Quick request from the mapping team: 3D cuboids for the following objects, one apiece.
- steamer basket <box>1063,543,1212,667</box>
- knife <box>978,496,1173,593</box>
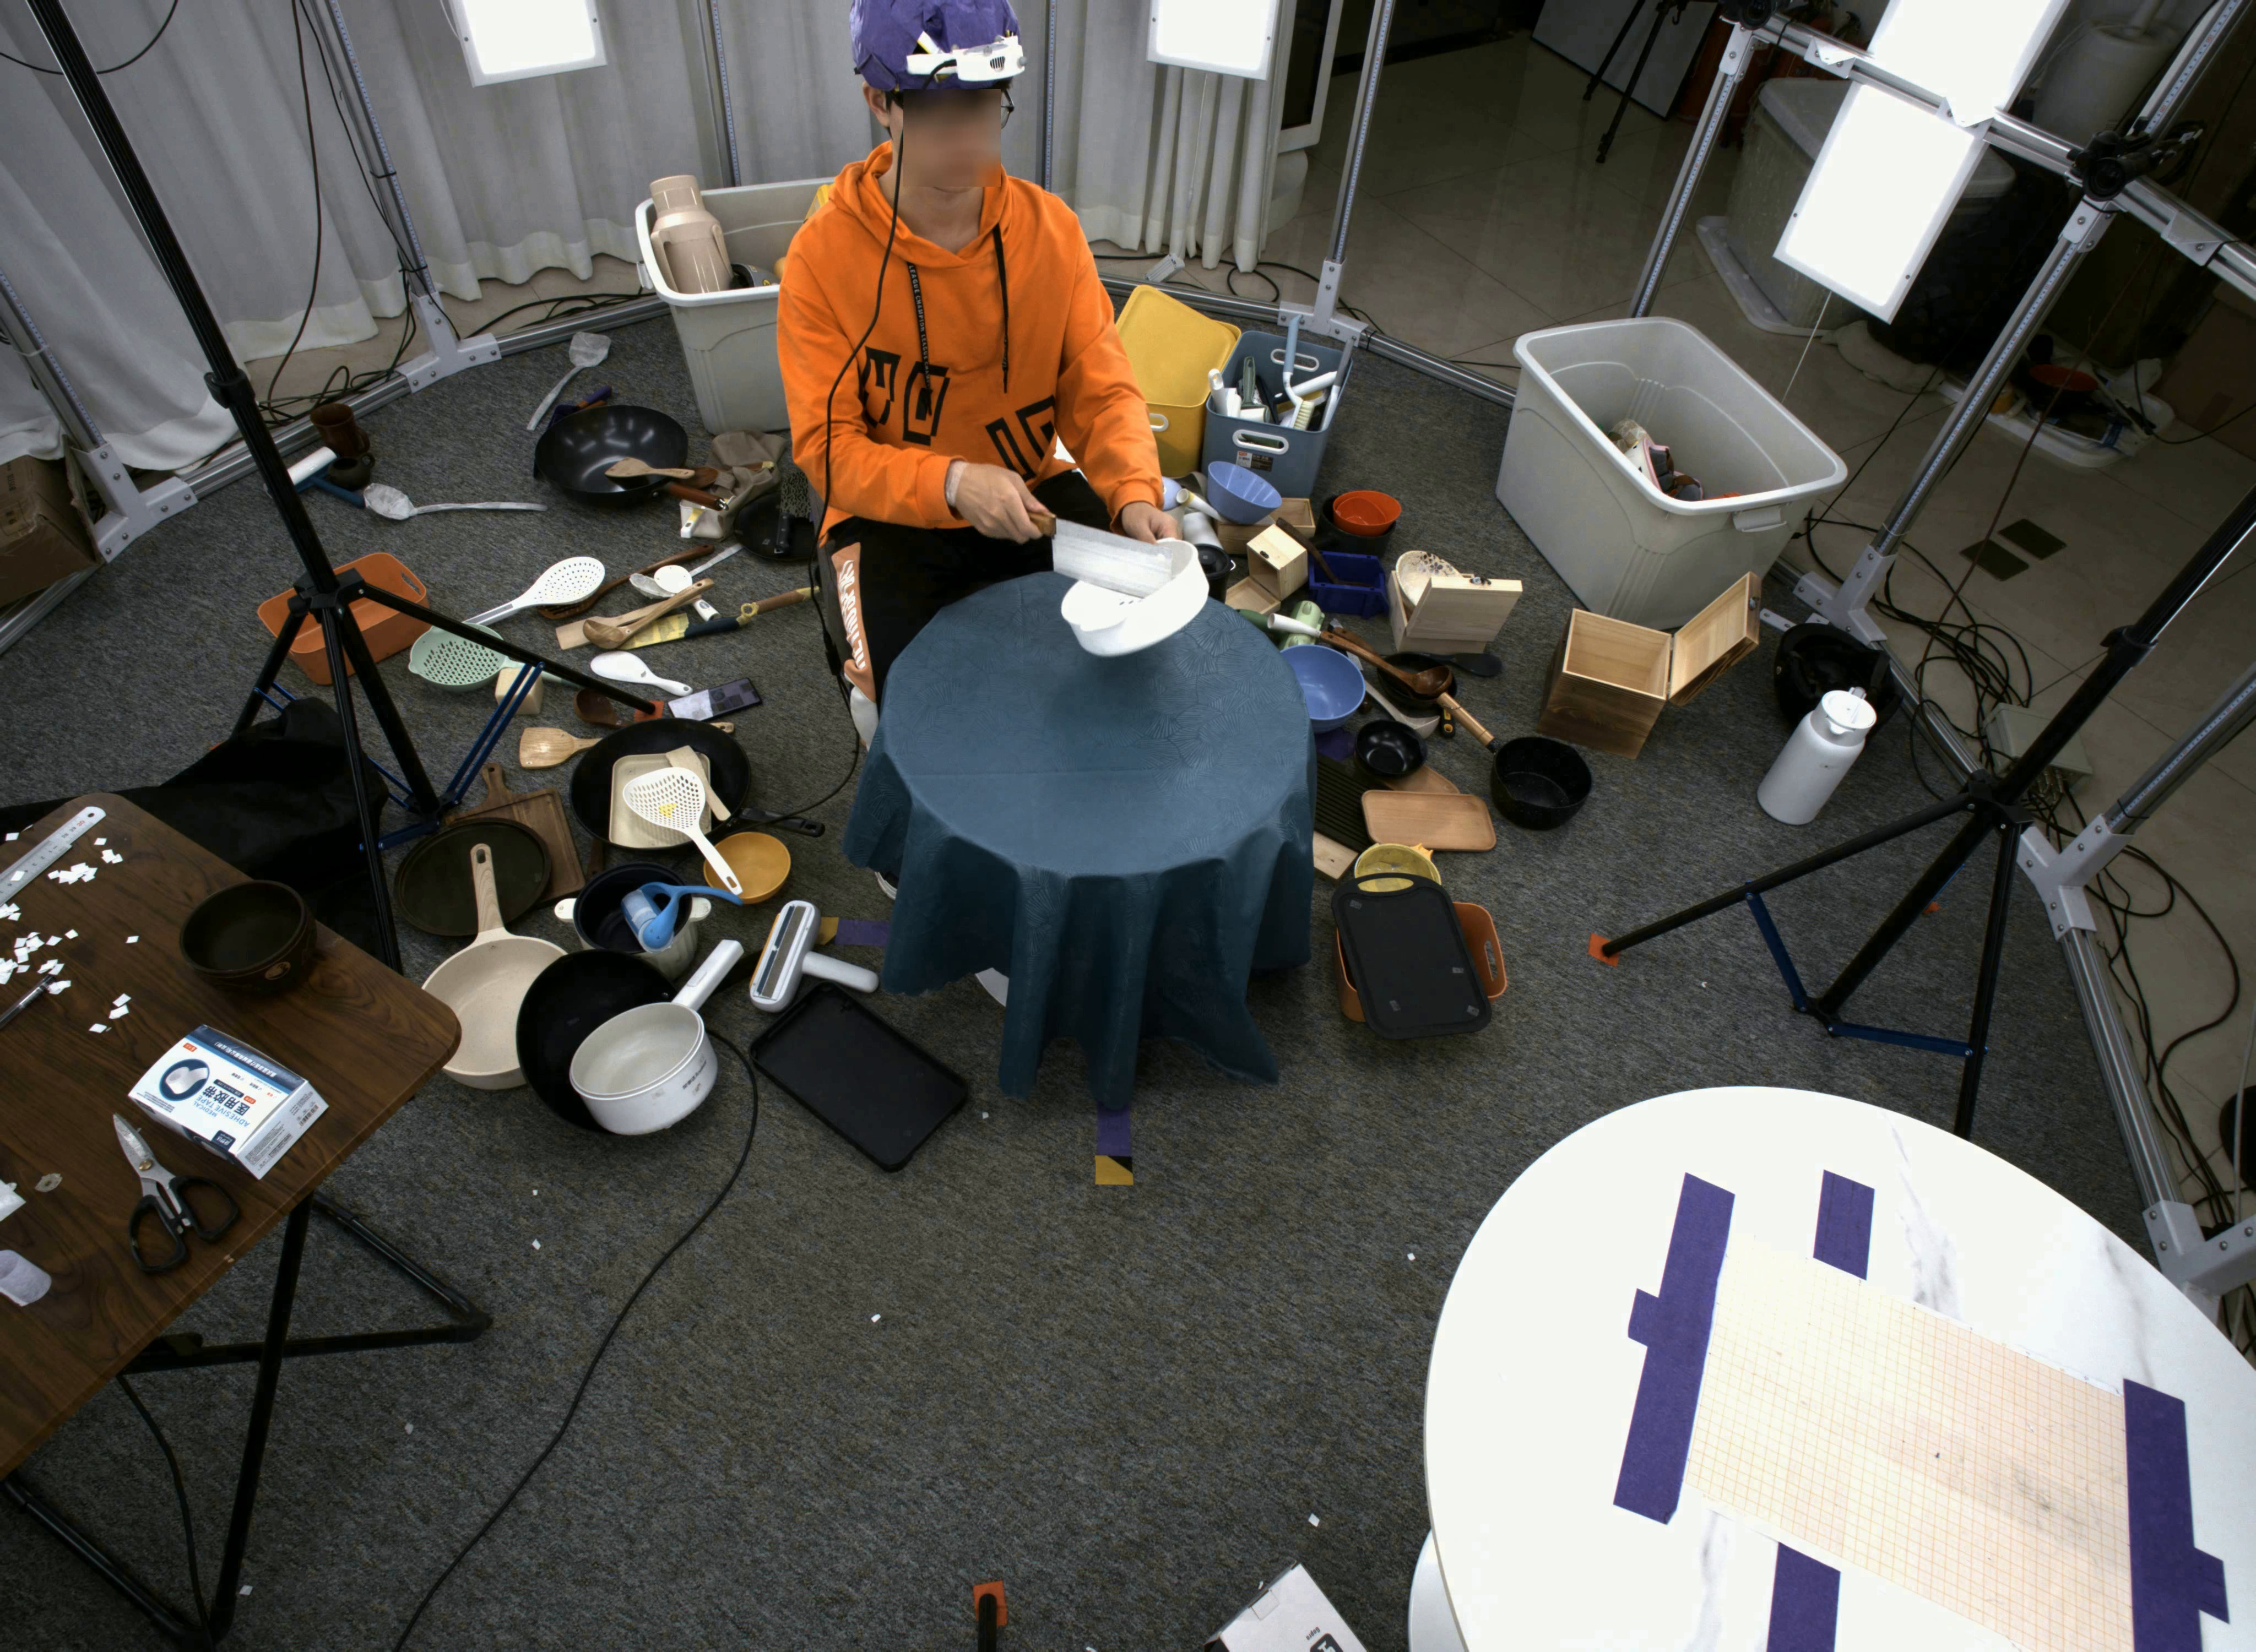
[{"bbox_3d":[0.015,-0.297,1.746,0.202,0.068,0.235,-6,39,30],"label":"steamer basket"},{"bbox_3d":[-0.073,-0.383,1.765,0.308,0.090,0.021,21,48,23],"label":"knife"}]
